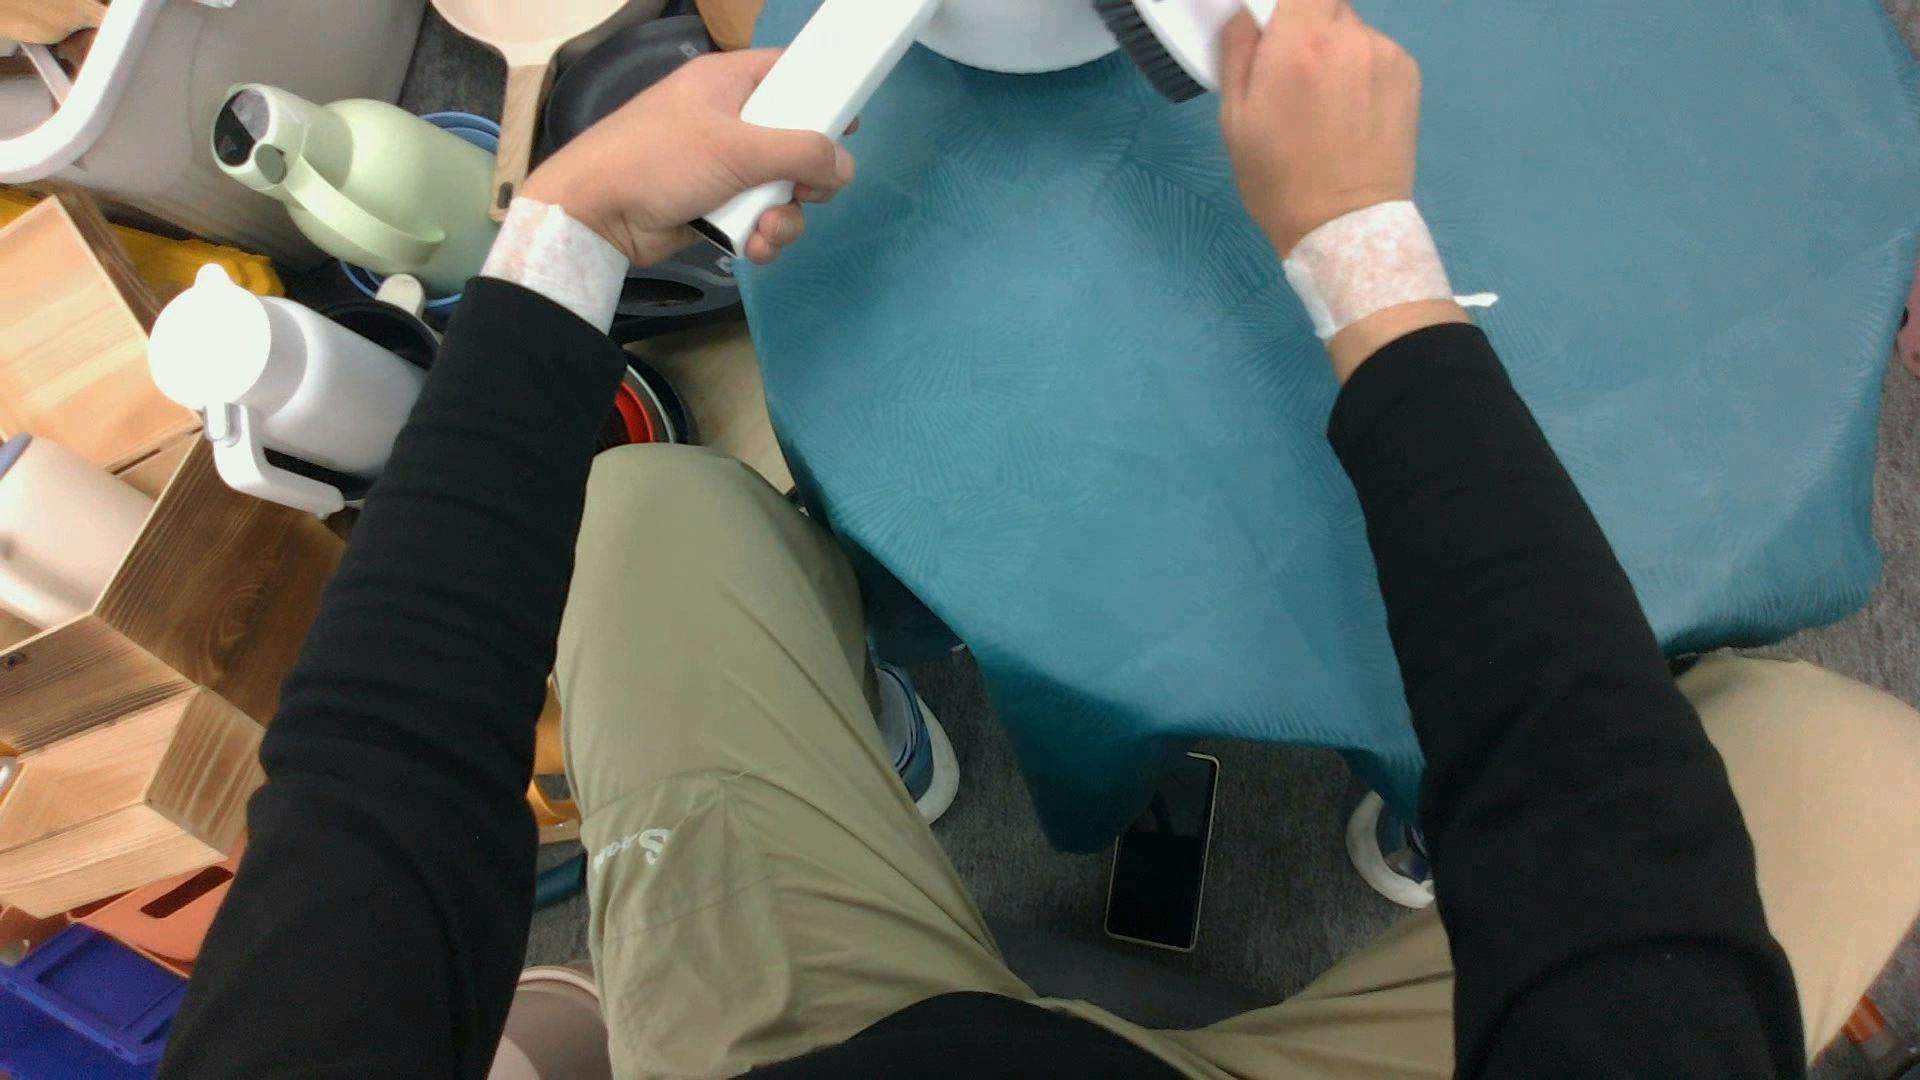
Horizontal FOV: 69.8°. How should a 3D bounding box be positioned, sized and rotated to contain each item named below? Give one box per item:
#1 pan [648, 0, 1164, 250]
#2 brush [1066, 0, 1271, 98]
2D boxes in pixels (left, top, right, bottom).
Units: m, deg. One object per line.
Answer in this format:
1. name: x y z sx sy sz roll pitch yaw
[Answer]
1. pan: -0.019 -0.278 0.688 0.201 0.102 0.355 35 81 8
2. brush: 0.097 -0.240 0.609 0.099 0.072 0.050 39 79 -35
